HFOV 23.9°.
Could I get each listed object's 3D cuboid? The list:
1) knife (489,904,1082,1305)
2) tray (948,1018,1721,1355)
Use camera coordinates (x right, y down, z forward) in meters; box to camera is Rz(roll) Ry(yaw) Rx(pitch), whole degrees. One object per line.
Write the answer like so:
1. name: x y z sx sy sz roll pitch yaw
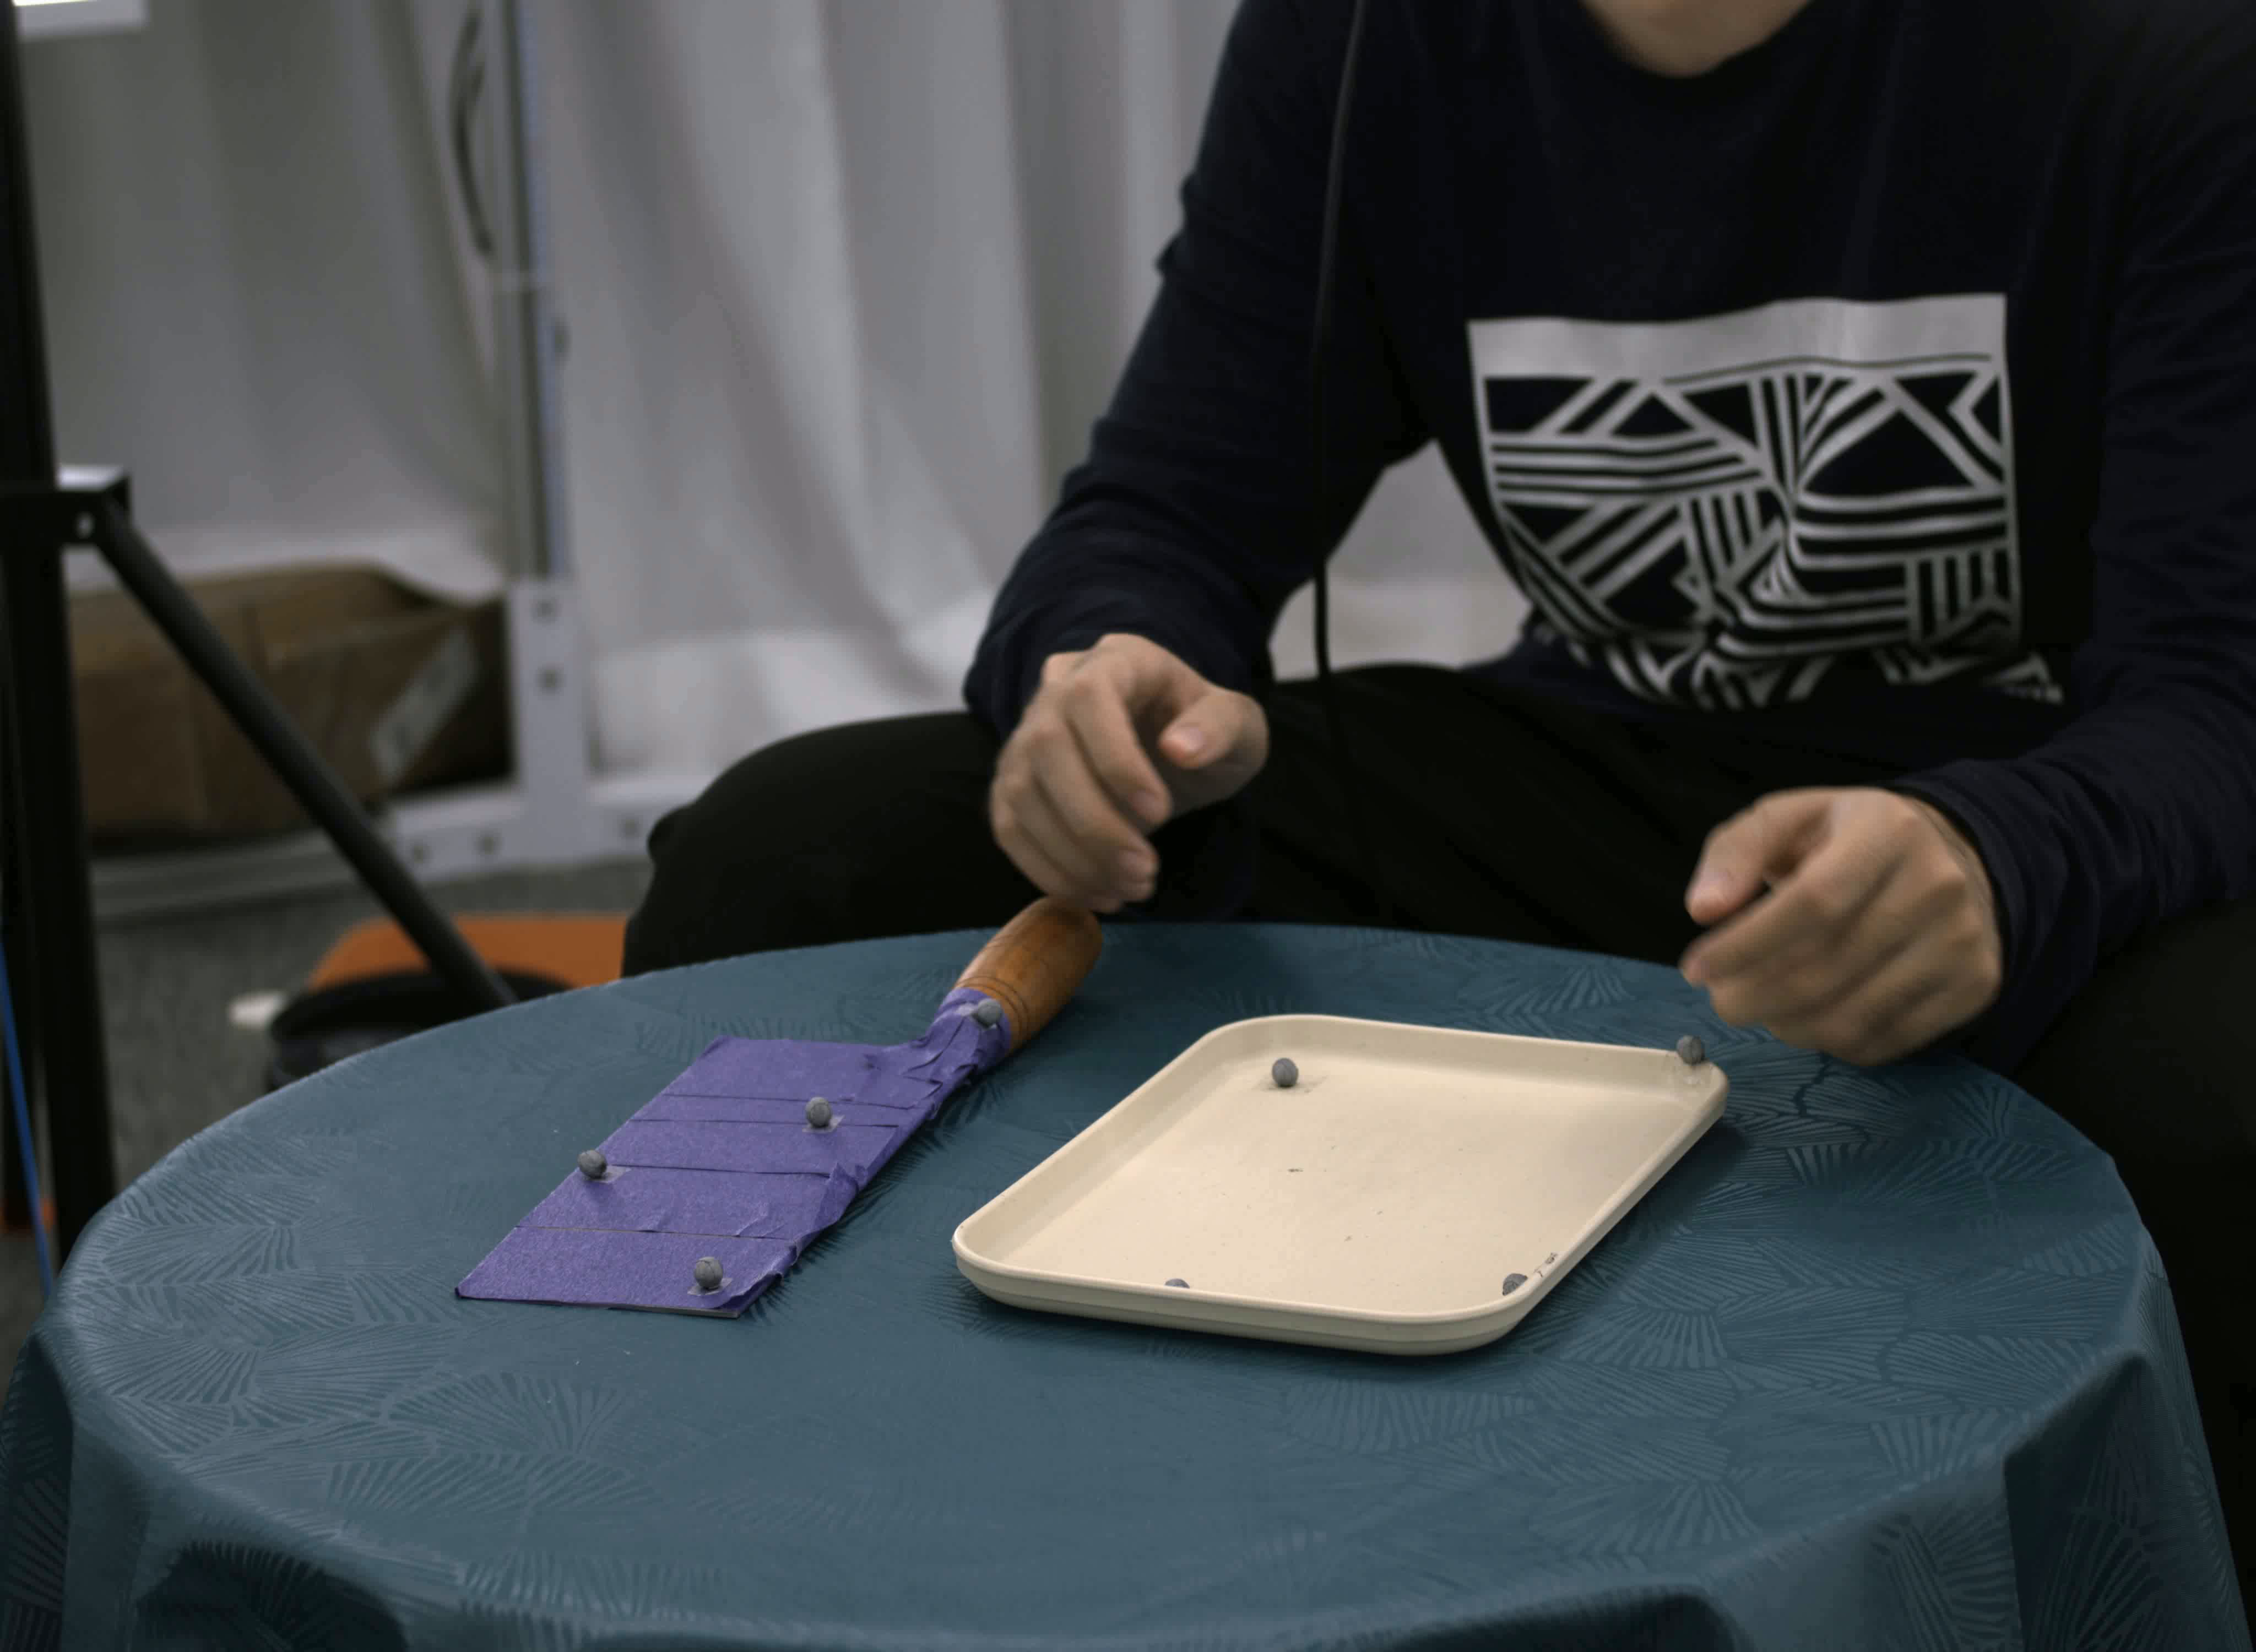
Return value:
1. knife: -0.101 0.081 1.623 0.105 0.032 0.312 3 17 17
2. tray: 0.064 0.103 1.537 0.174 0.017 0.236 4 17 24
